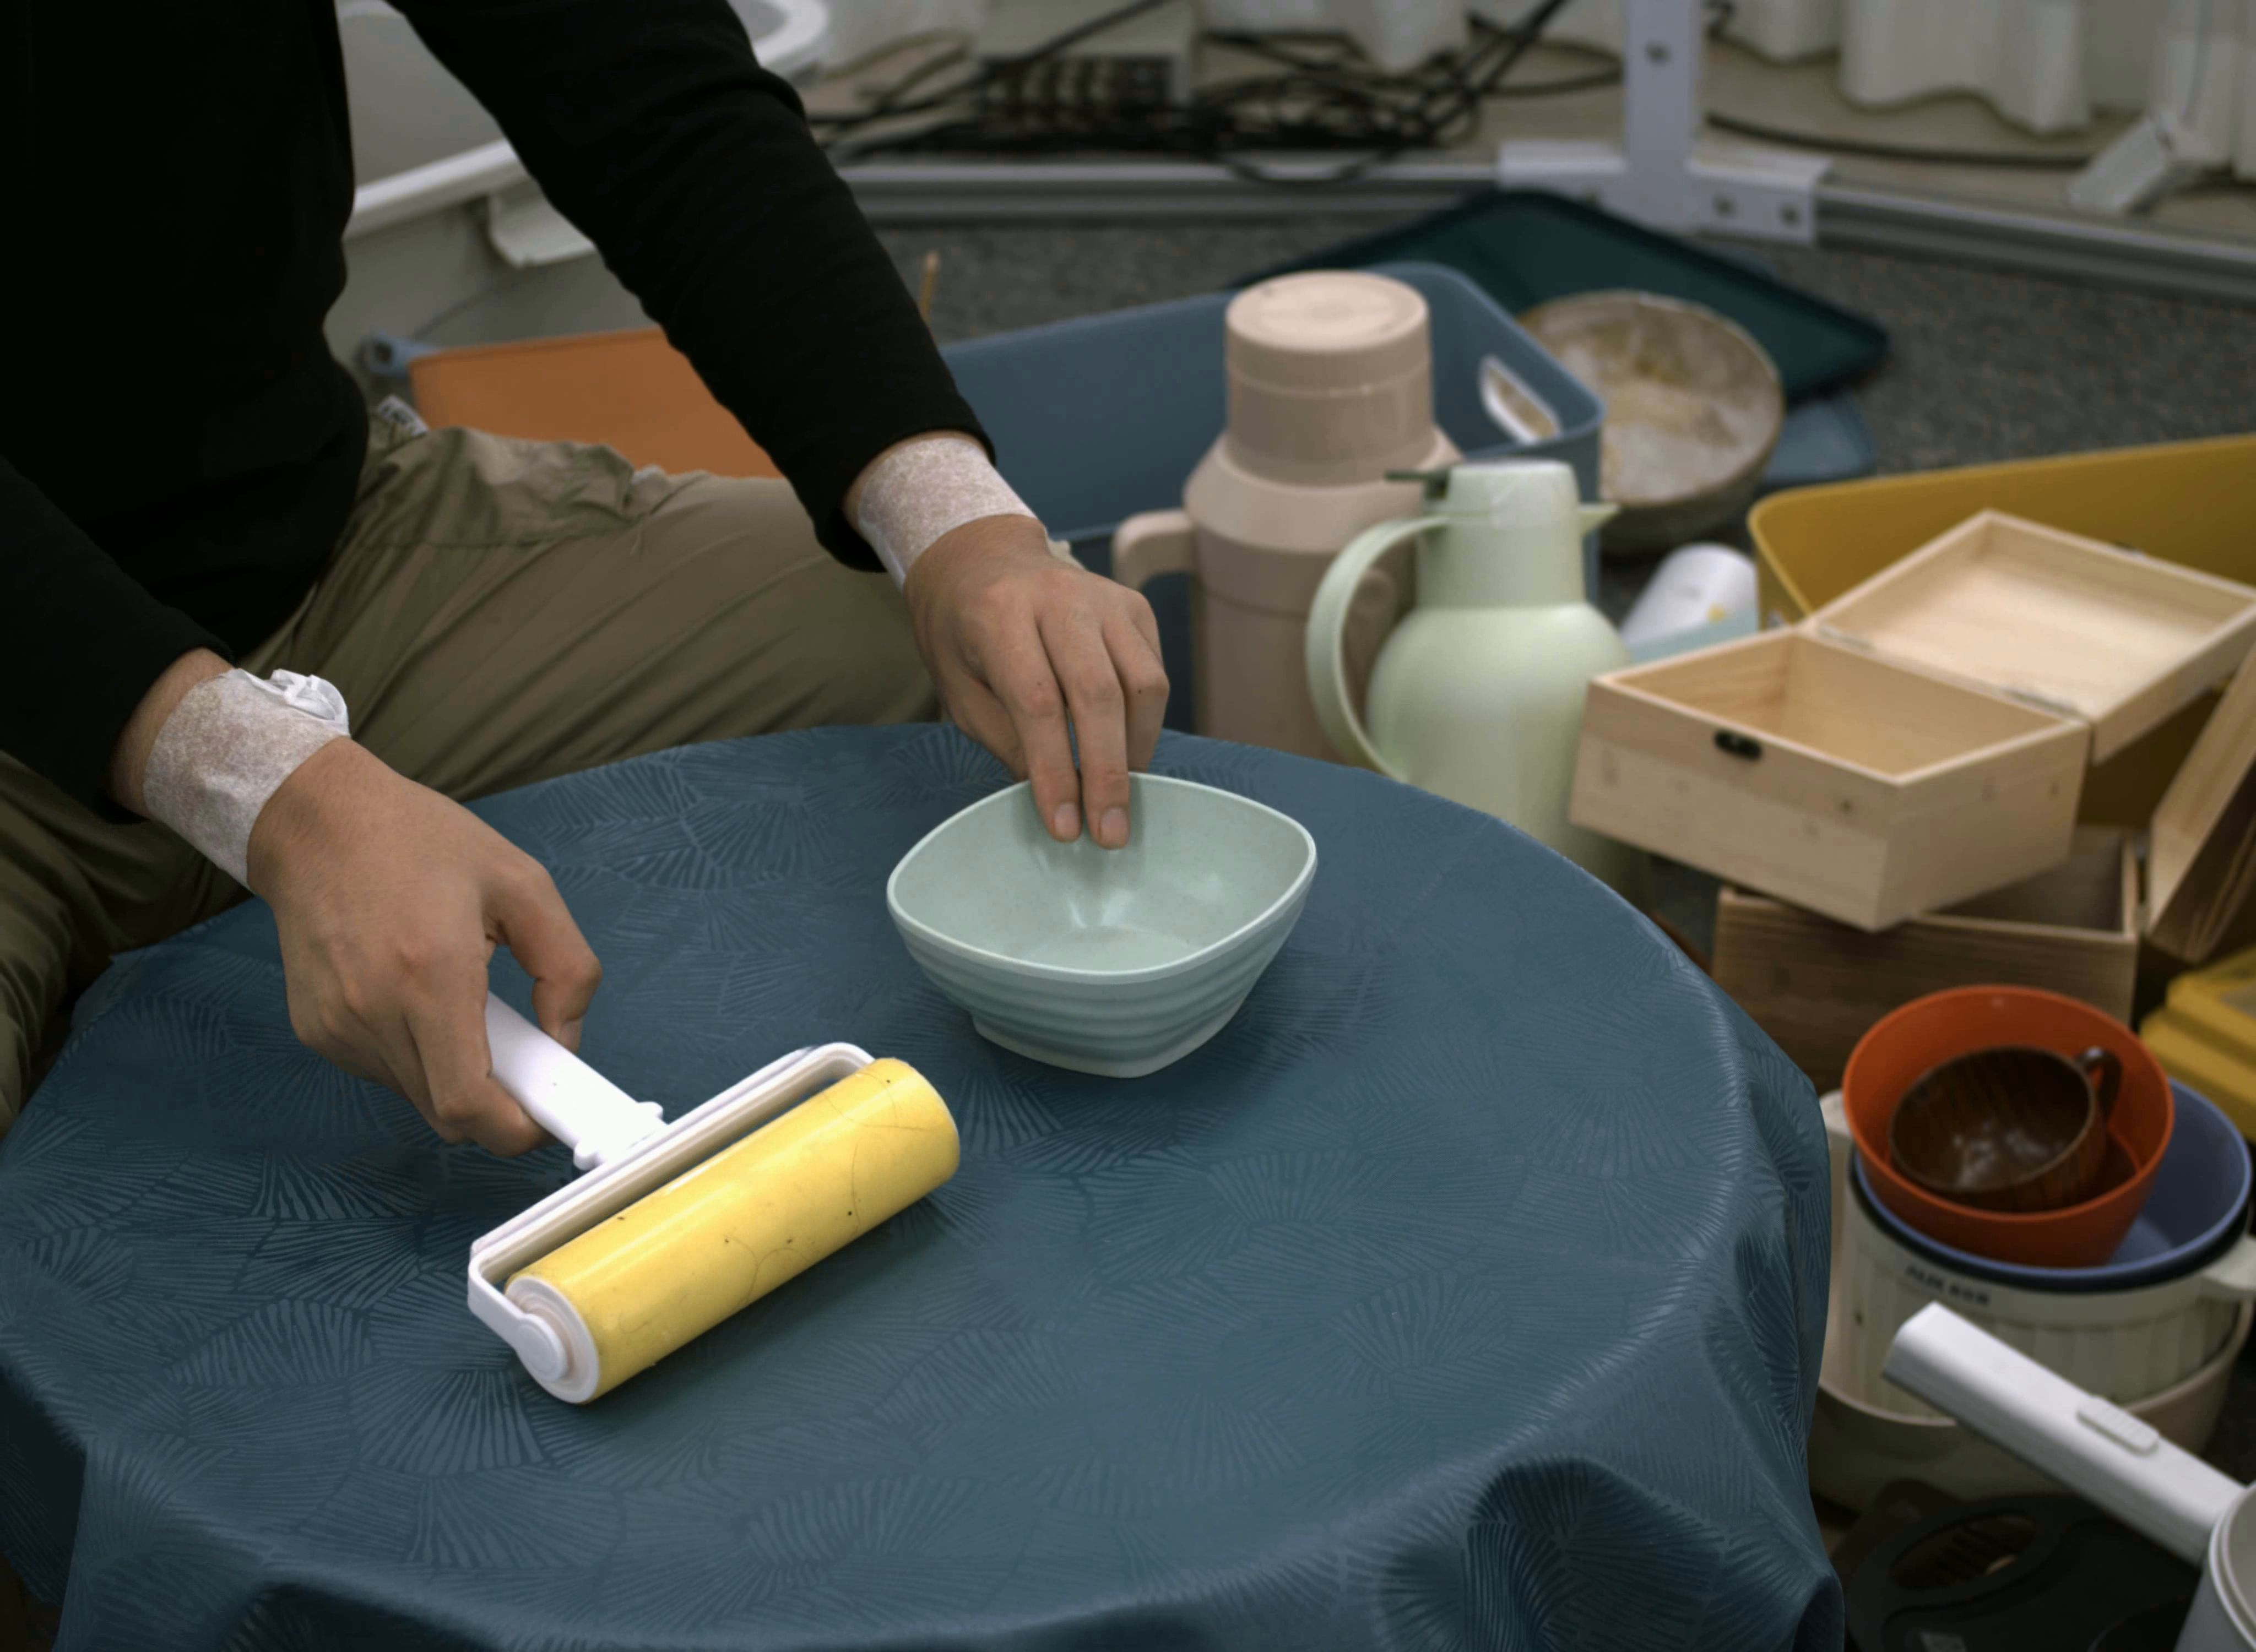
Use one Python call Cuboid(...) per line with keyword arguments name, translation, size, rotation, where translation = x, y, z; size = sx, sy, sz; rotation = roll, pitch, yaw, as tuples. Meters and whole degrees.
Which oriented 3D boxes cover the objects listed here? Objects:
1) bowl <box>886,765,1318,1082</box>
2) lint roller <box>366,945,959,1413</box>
Cuboid(name="bowl", translation=(-0.008, 0.040, 1.959), size=(0.151, 0.058, 0.154), rotation=(-1, 29, 1))
Cuboid(name="lint roller", translation=(-0.177, 0.089, 1.832), size=(0.193, 0.050, 0.176), rotation=(40, 47, 21))
